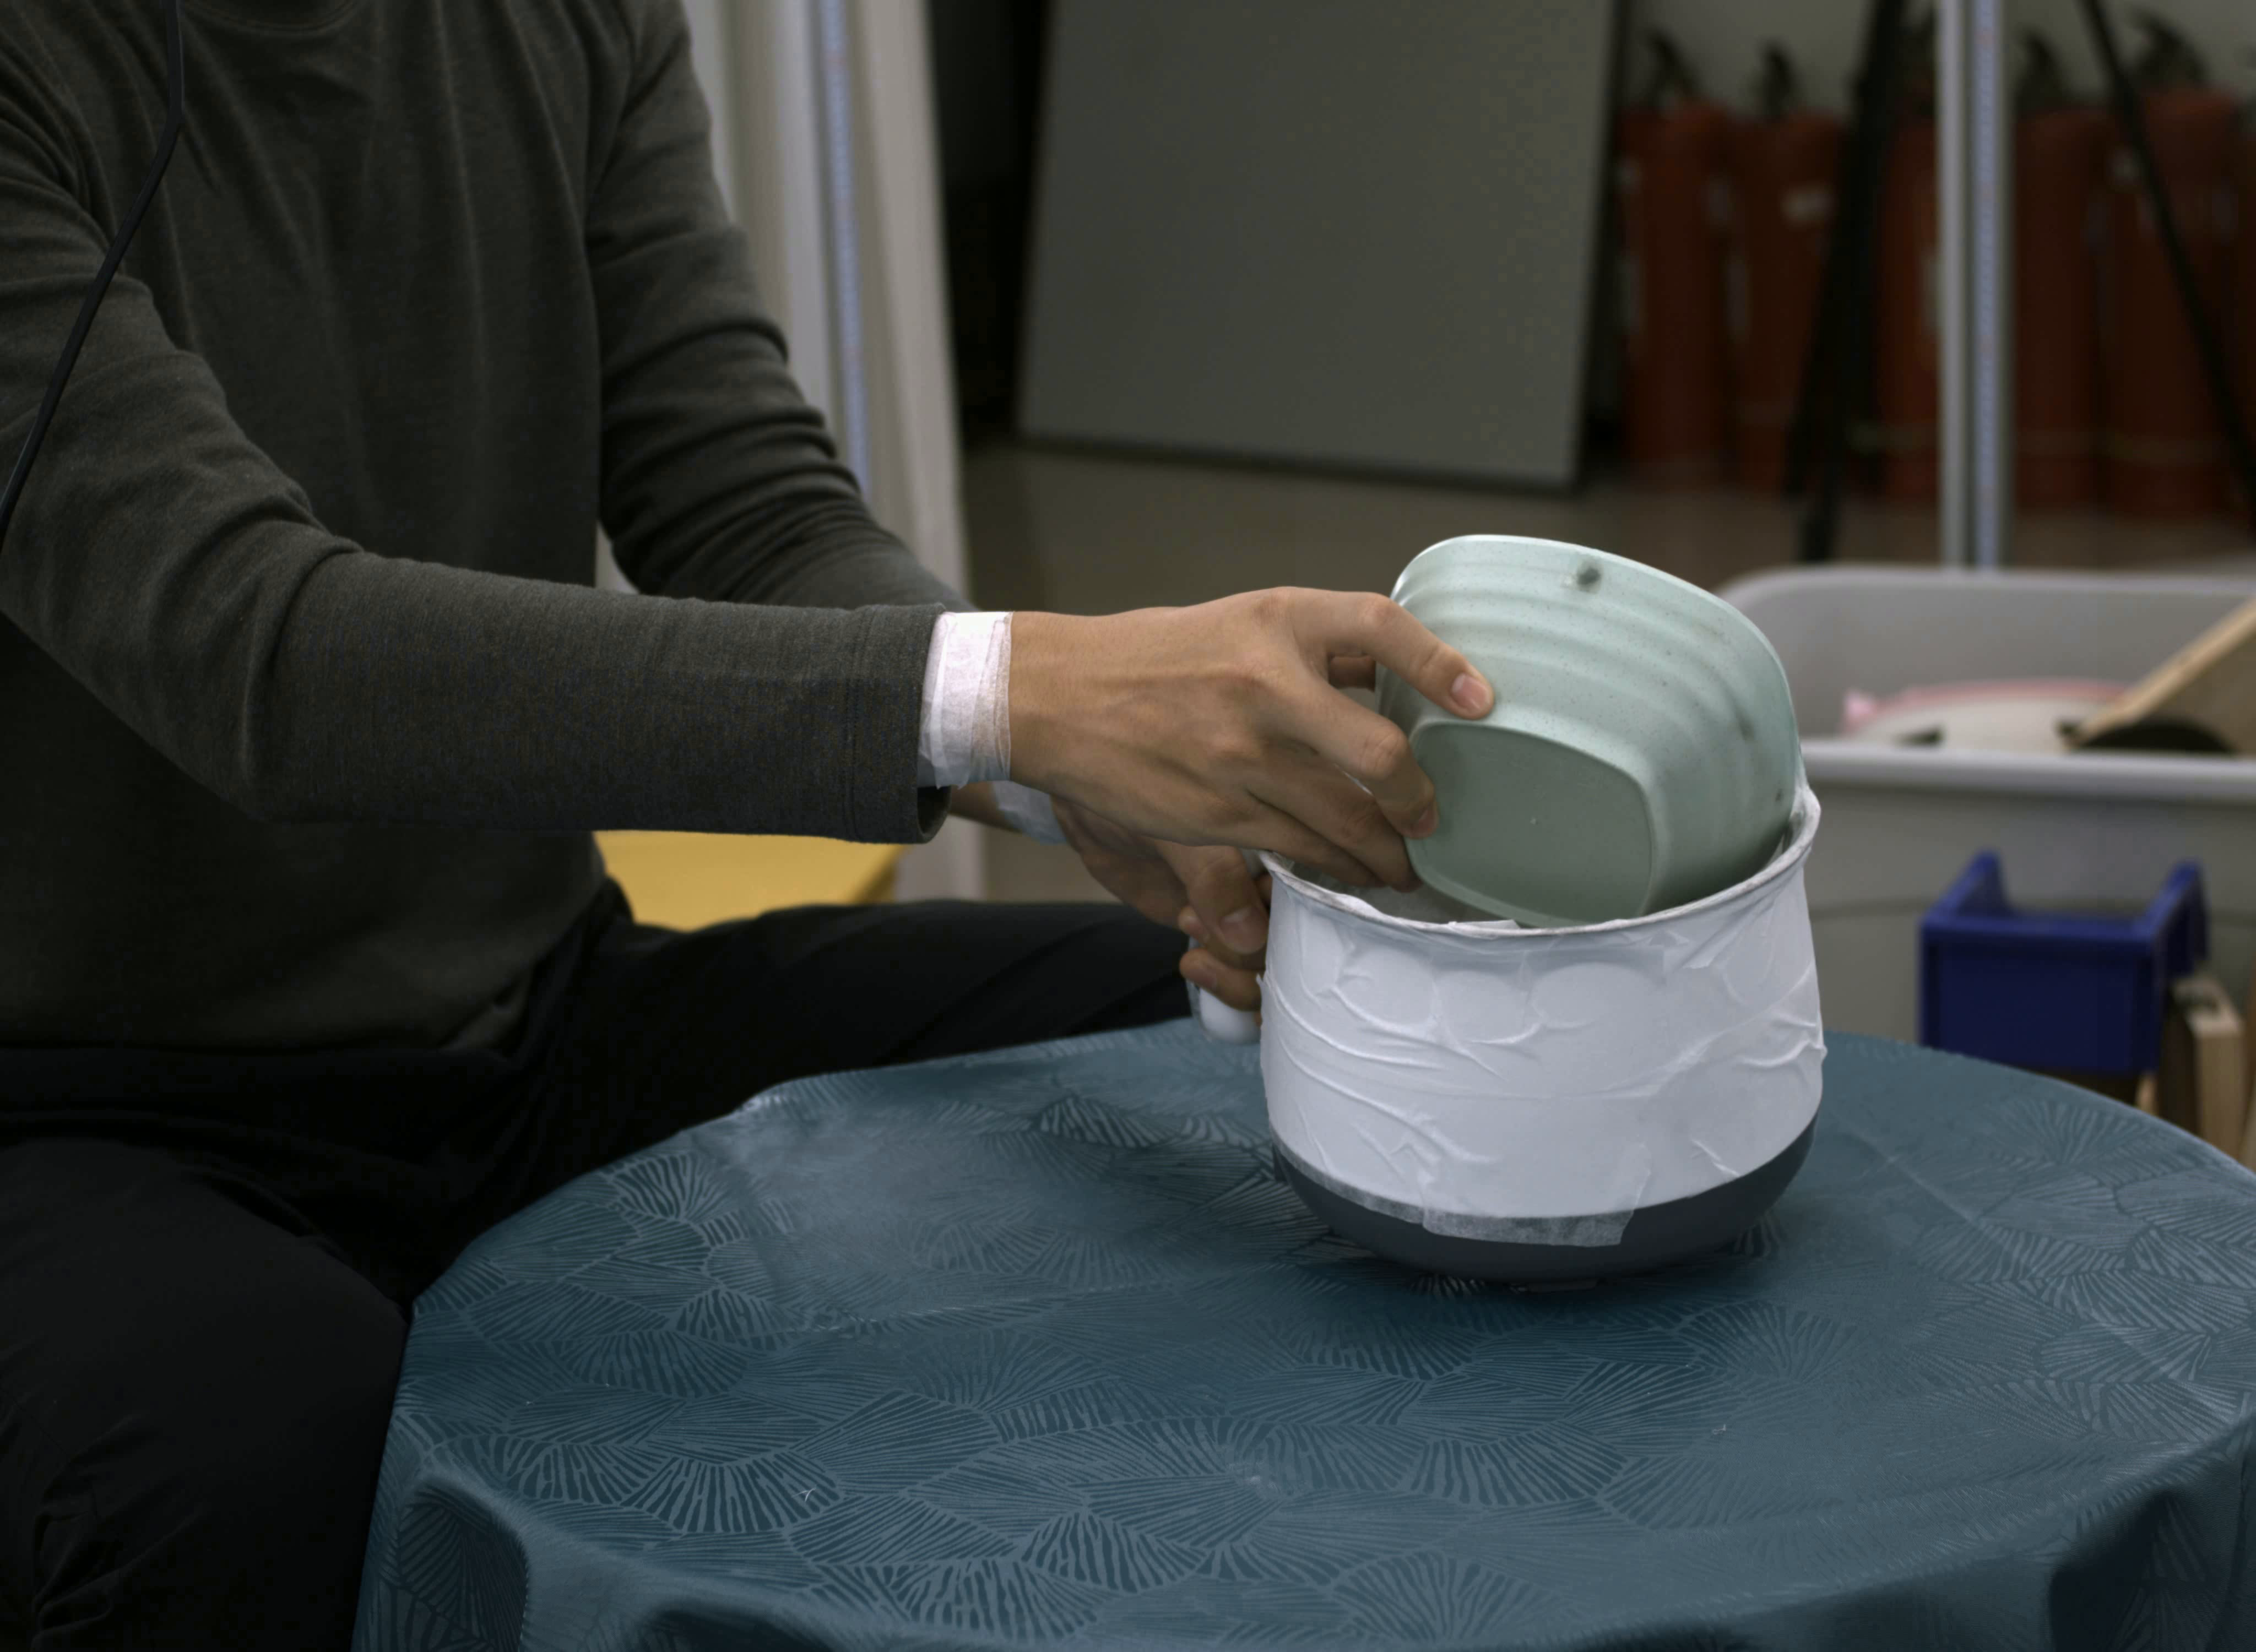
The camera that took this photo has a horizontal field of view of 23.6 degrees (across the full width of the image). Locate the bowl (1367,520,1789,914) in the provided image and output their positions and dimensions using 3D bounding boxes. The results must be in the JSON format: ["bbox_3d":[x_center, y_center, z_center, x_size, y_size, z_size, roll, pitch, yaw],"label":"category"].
[{"bbox_3d":[0.129,-0.019,1.650,0.152,0.151,0.058,5,42,31],"label":"bowl"}]

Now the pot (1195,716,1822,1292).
[{"bbox_3d":[0.109,0.046,1.705,0.236,0.138,0.175,17,31,42],"label":"pot"}]
